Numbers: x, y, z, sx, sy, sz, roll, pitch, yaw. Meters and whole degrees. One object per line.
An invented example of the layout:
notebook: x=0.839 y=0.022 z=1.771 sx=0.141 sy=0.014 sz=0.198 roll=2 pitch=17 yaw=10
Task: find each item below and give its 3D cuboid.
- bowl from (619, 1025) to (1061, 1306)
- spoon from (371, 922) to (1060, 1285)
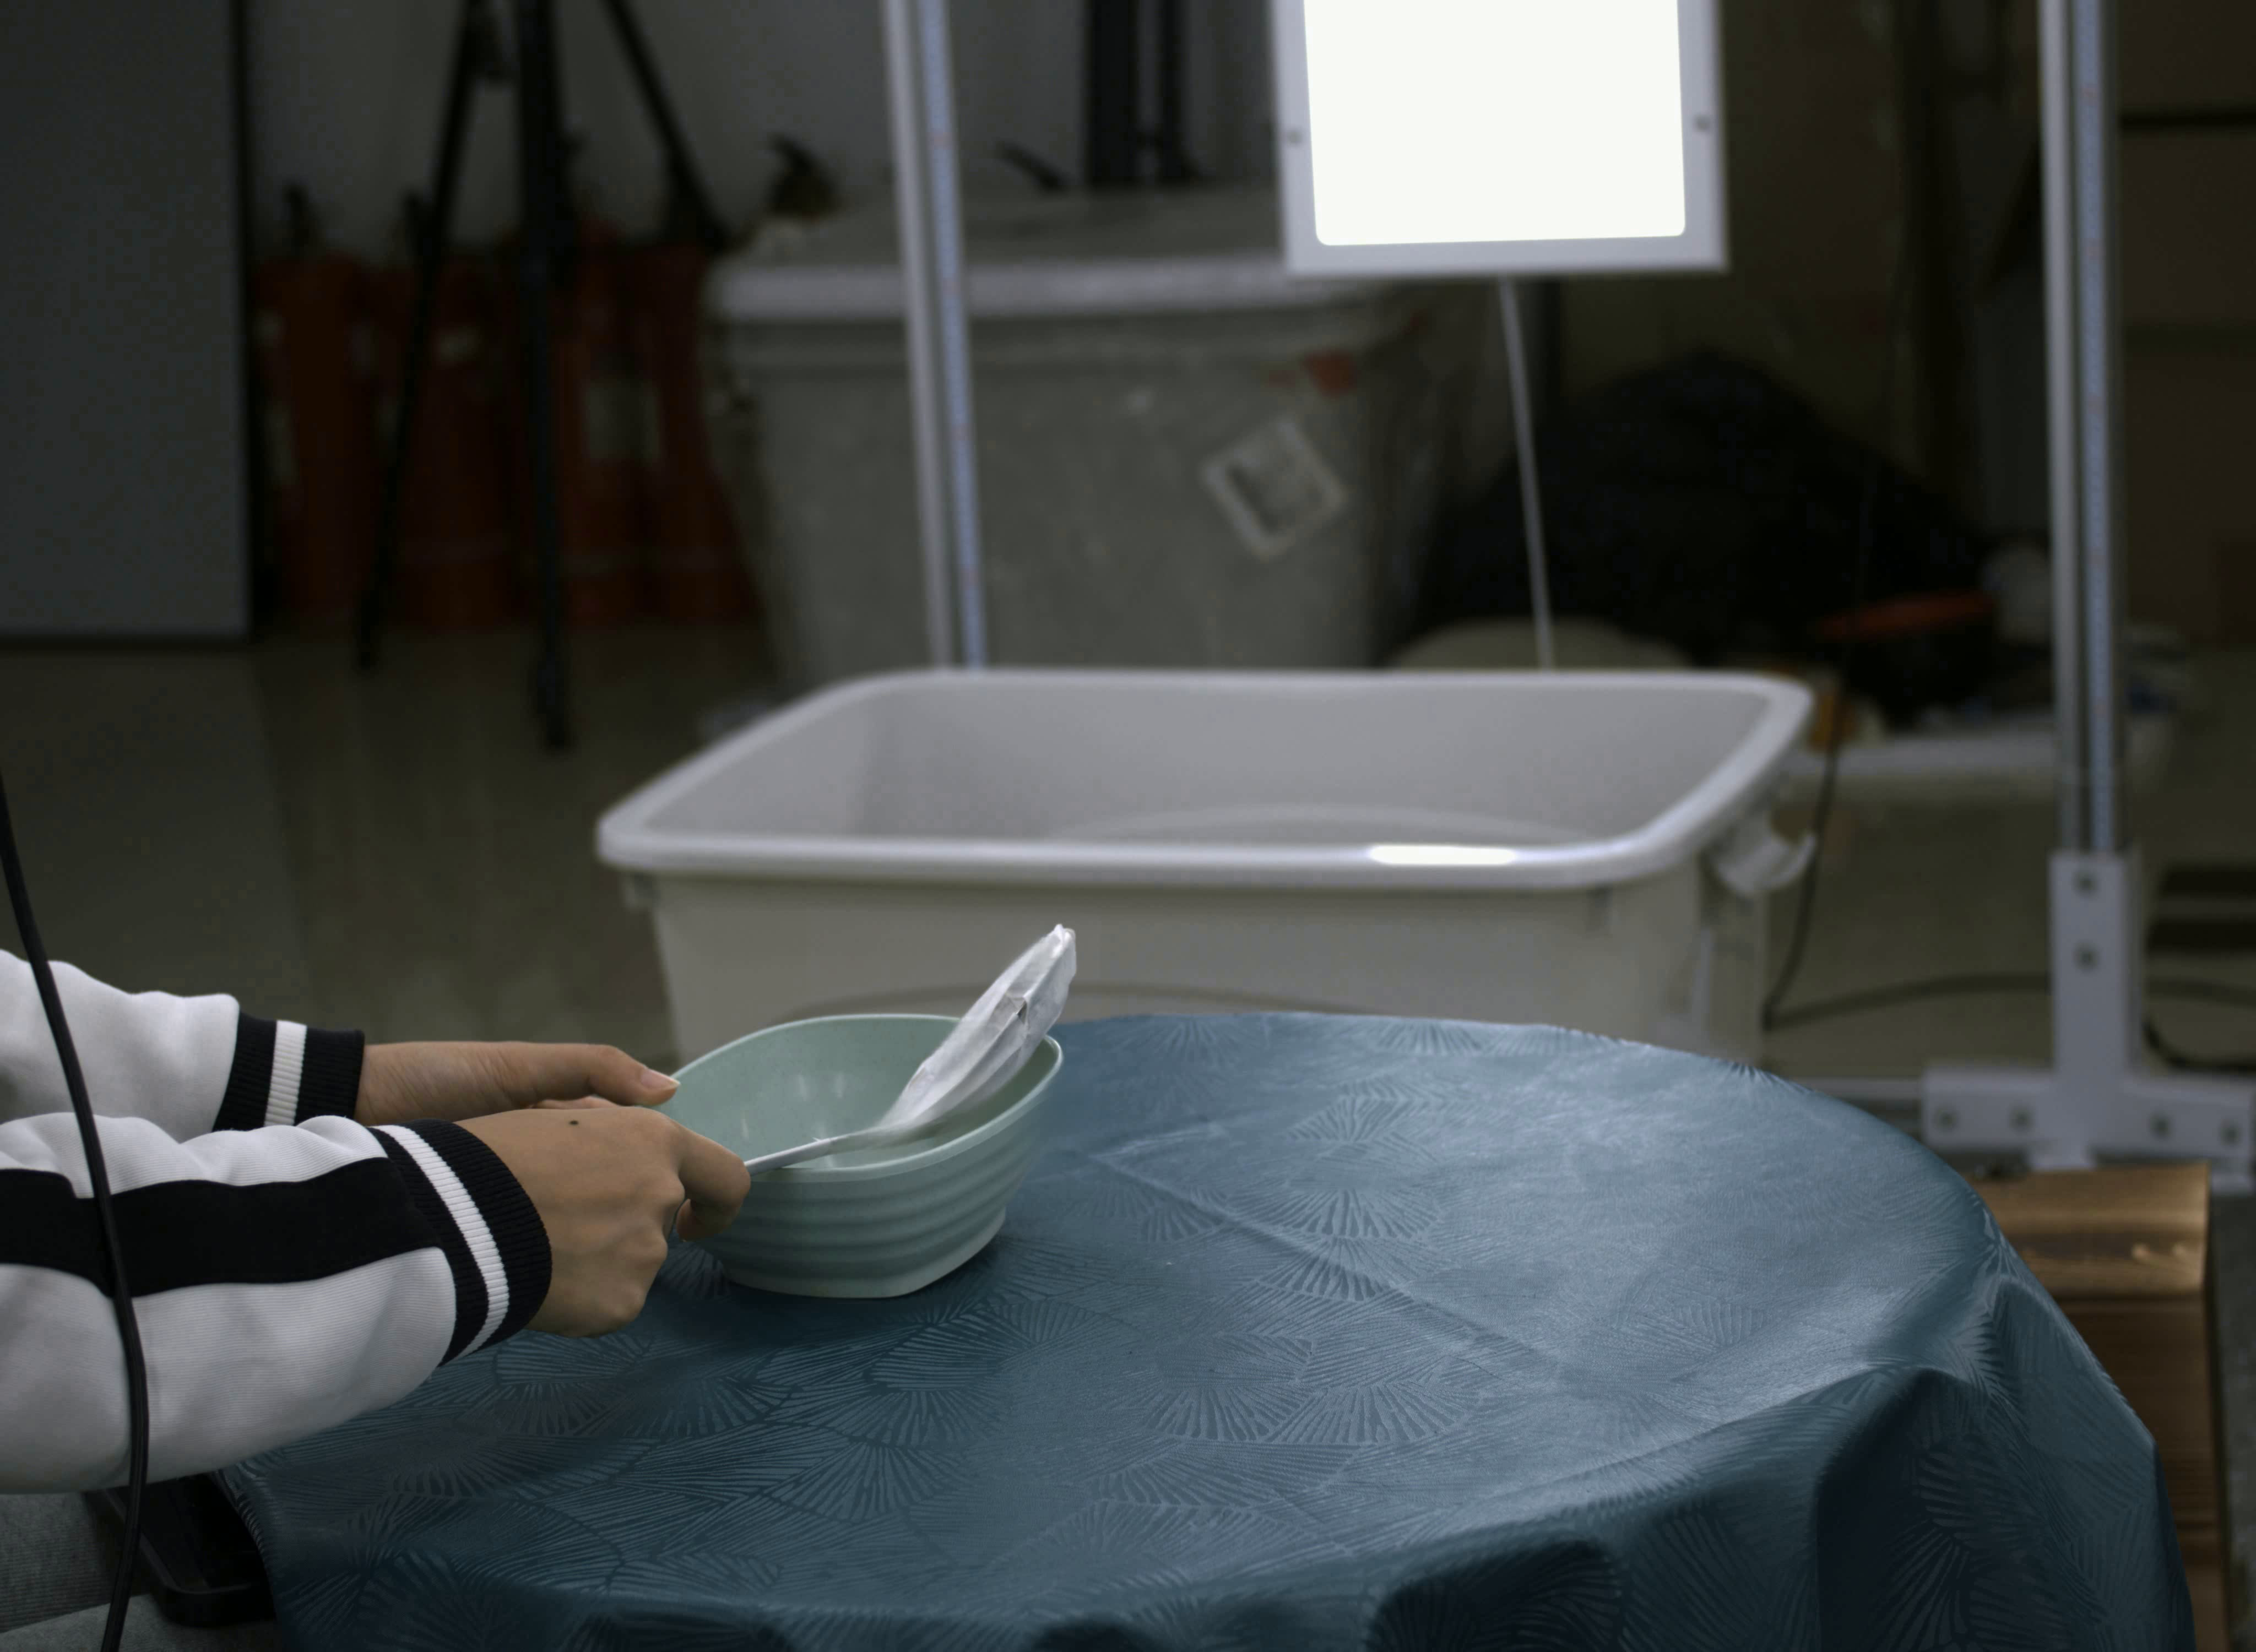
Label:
bowl: x=-0.092 y=0.117 z=1.844 sx=0.151 sy=0.059 sz=0.151 roll=-8 pitch=17 yaw=1
spoon: x=-0.132 y=0.091 z=1.777 sx=0.271 sy=0.060 sz=0.102 roll=-13 pitch=-22 yaw=-33
